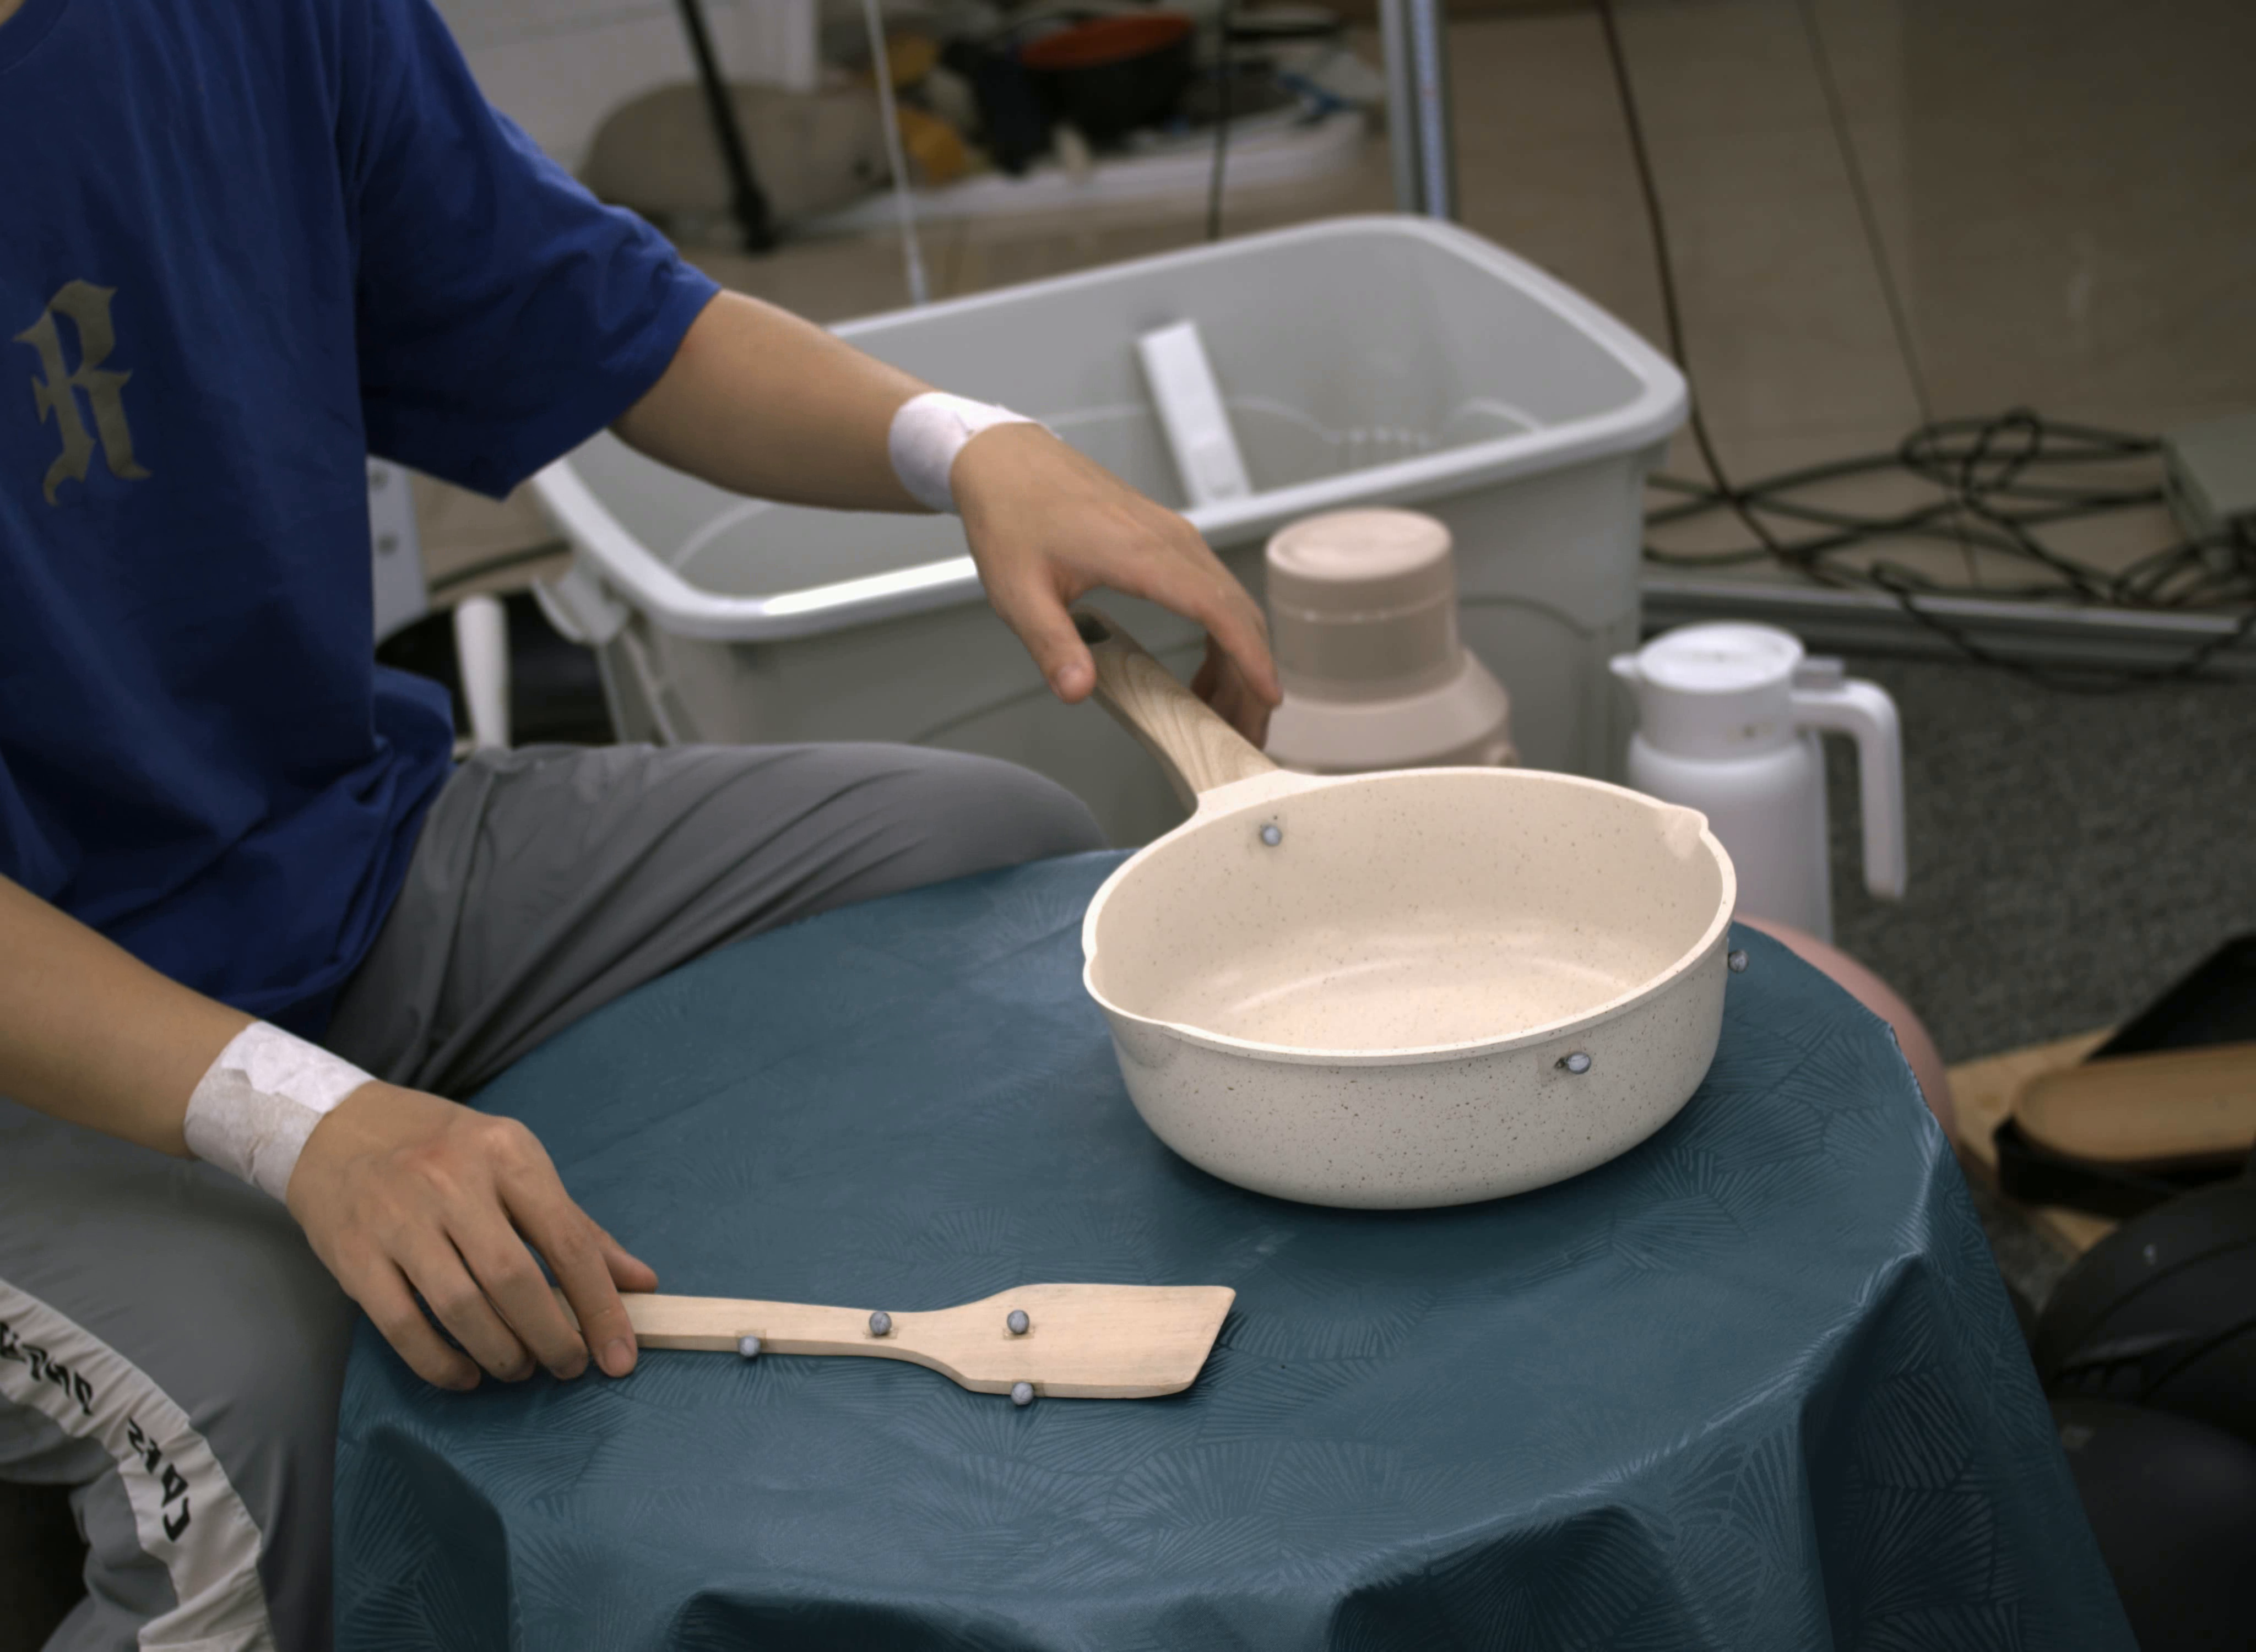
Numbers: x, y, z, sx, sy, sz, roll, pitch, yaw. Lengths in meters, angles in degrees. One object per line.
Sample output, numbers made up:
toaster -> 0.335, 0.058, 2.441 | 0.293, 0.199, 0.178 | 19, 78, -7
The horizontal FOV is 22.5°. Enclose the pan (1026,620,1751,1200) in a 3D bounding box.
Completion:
pan -> 0.074, 0.026, 2.251 | 0.262, 0.103, 0.430 | -19, 27, -21

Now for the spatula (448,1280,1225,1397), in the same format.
spatula -> -0.112, 0.182, 2.070 | 0.292, 0.011, 0.071 | 1, 27, 16
